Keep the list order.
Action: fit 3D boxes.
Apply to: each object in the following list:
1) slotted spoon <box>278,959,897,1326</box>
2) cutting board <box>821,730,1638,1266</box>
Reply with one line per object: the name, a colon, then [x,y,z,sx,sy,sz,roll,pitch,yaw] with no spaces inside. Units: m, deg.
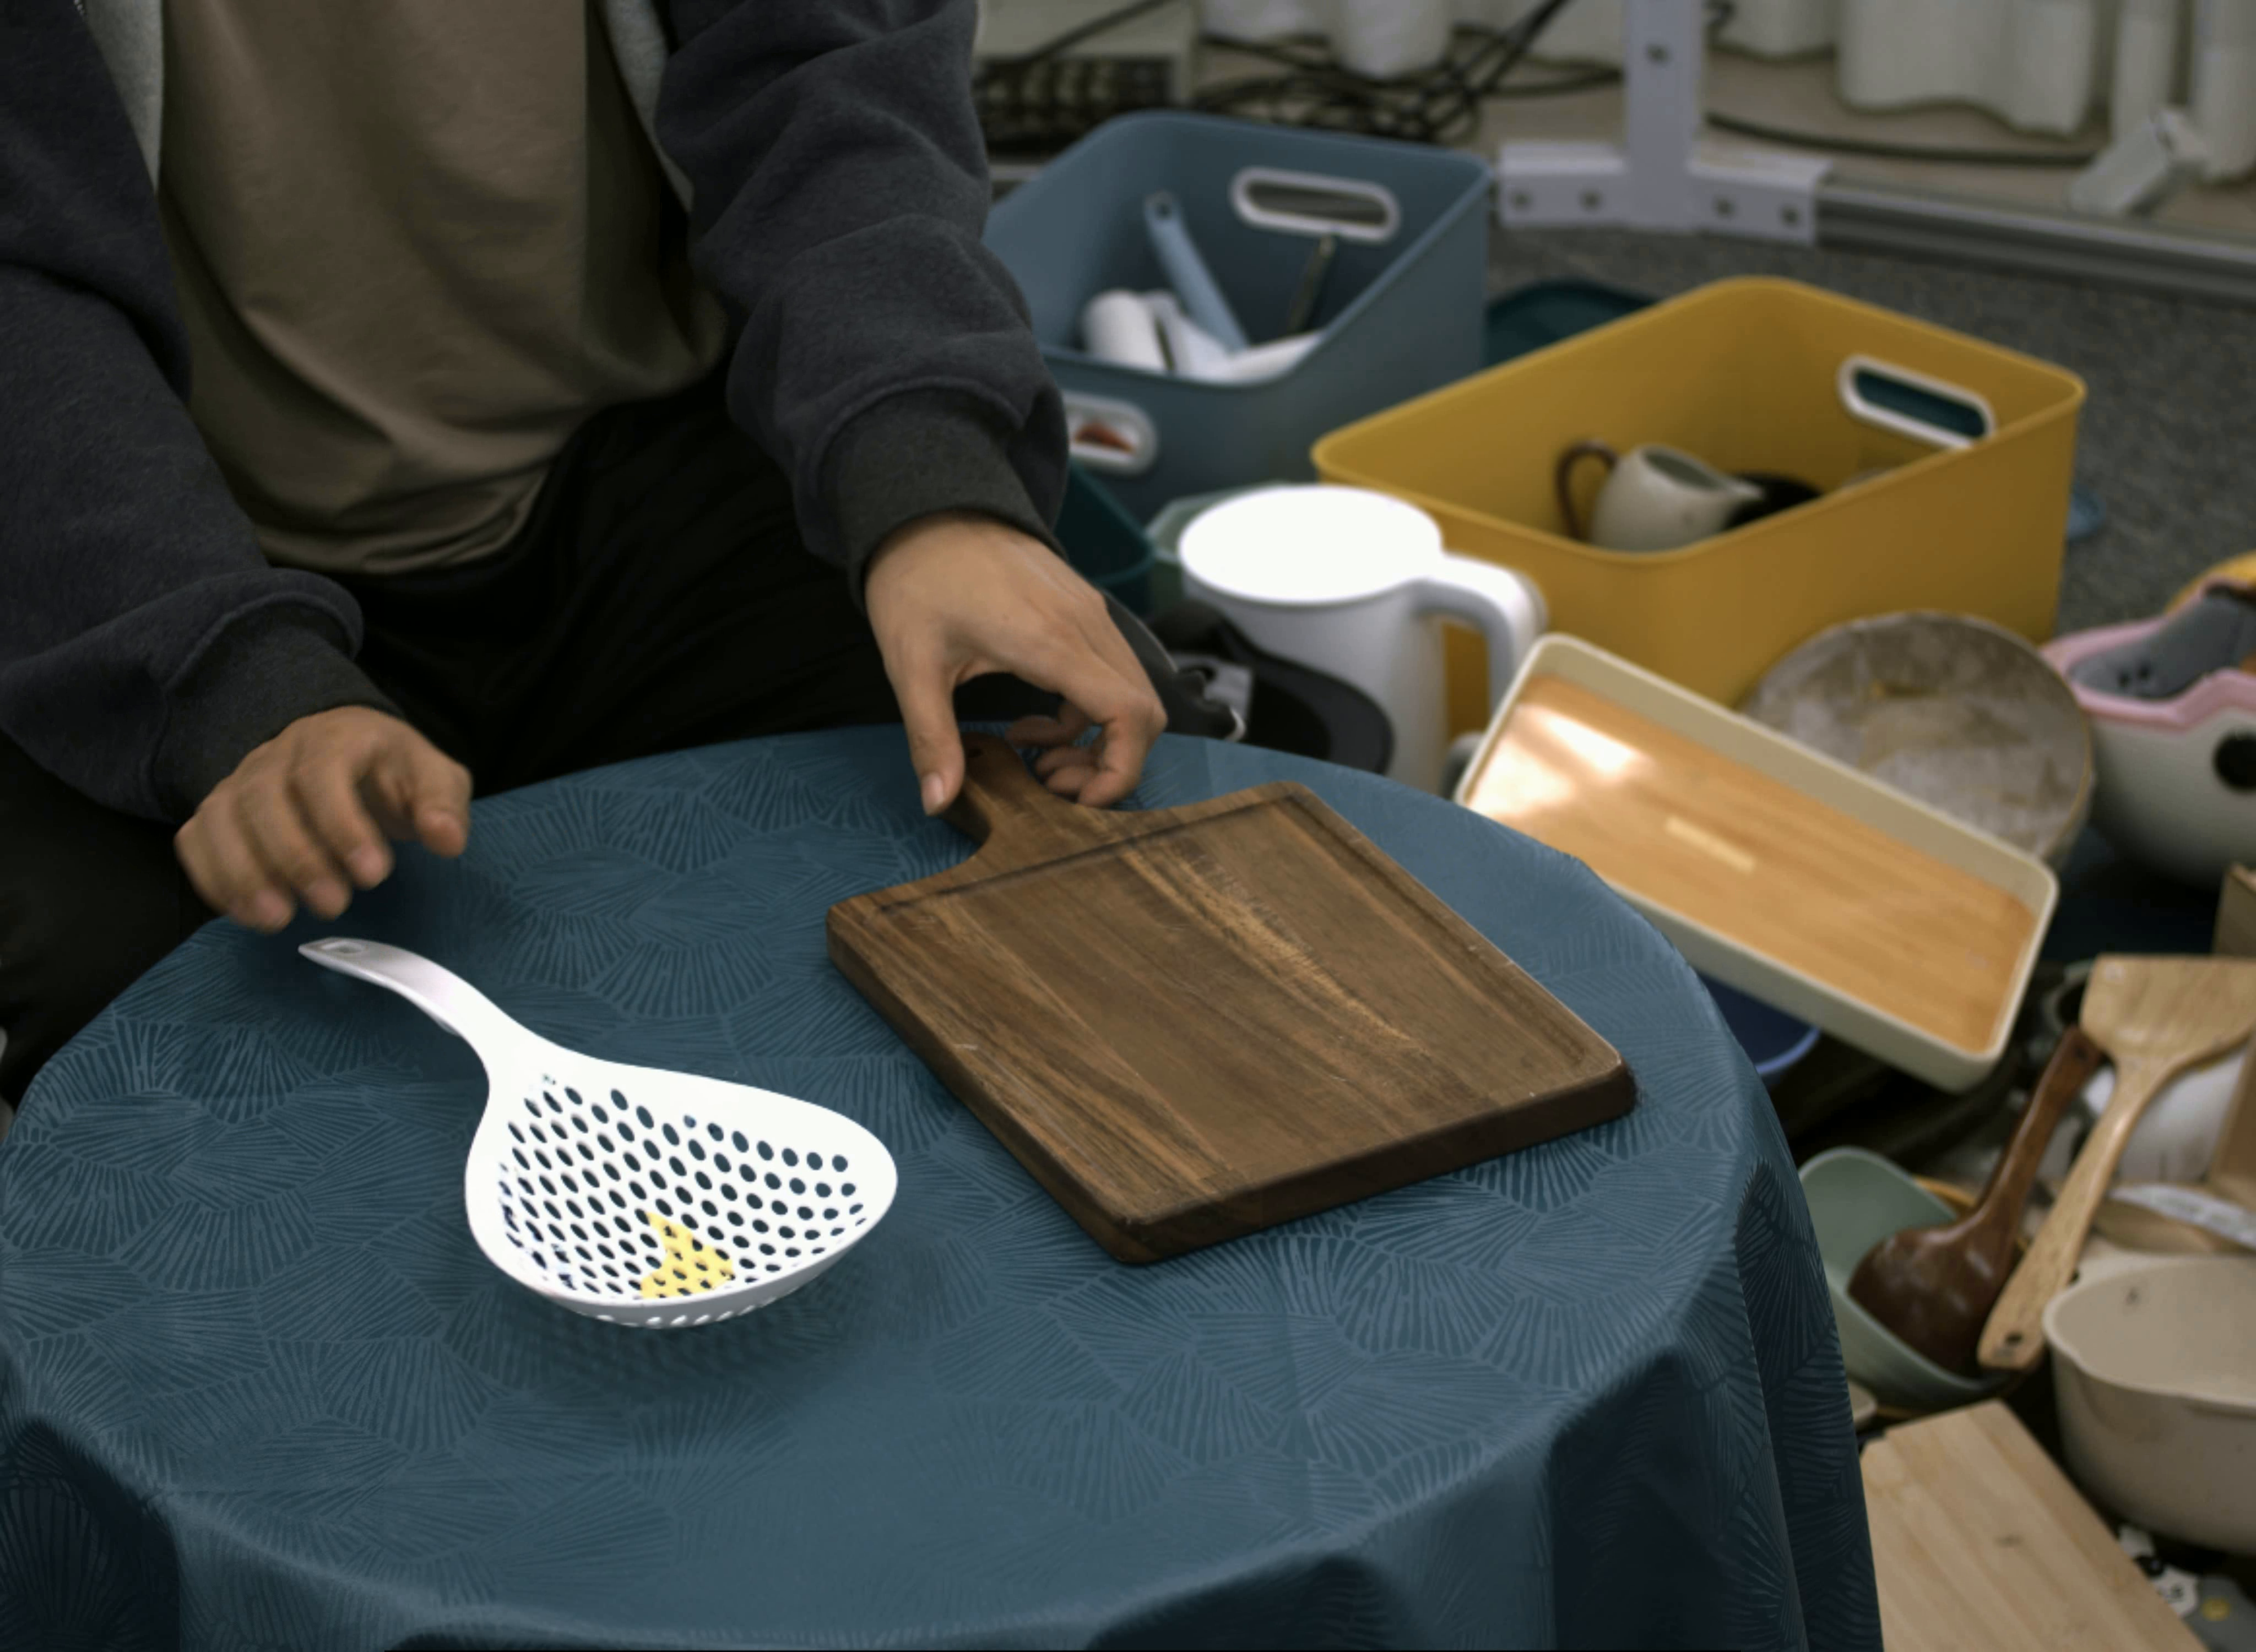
slotted spoon: [-0.202,0.093,1.893,0.138,0.050,0.349,-21,33,-27]
cutting board: [0.009,0.043,1.990,0.202,0.023,0.354,-15,30,-23]
